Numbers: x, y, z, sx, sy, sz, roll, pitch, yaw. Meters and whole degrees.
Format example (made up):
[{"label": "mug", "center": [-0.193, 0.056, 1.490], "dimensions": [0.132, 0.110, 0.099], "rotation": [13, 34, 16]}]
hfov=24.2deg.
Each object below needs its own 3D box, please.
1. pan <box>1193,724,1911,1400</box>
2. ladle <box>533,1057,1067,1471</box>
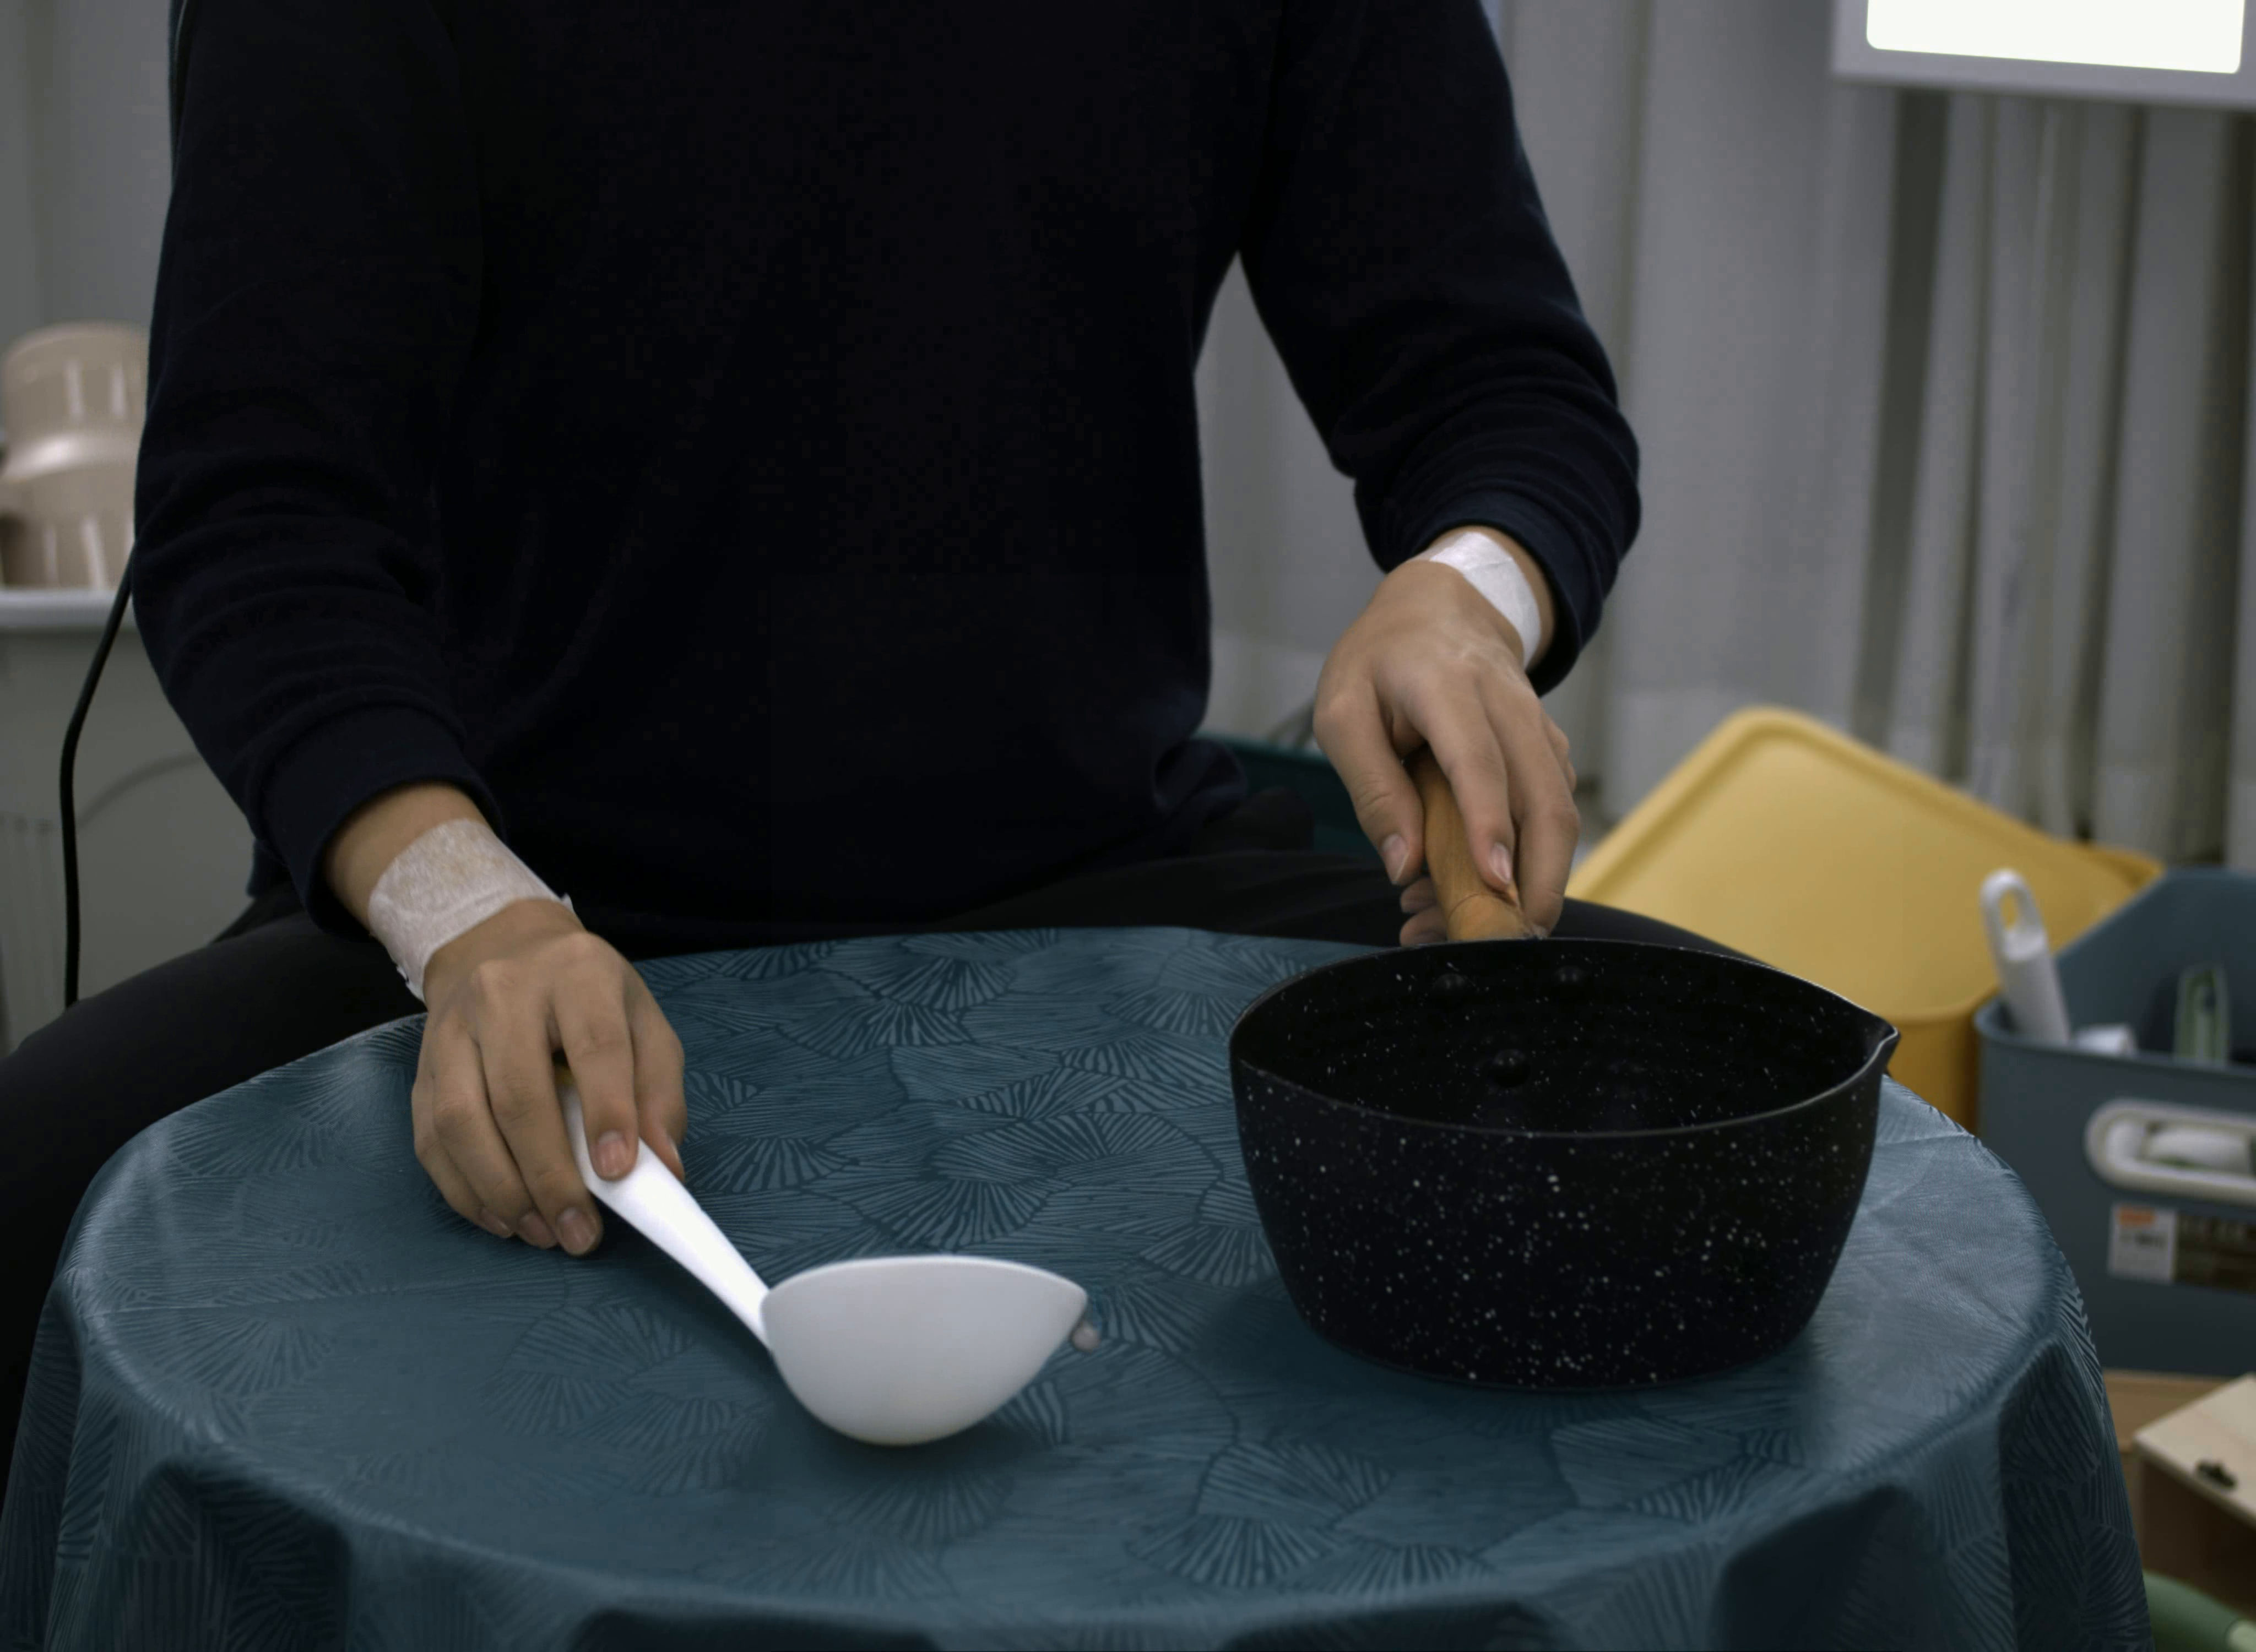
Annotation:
[{"label": "pan", "center": [0.115, 0.066, 1.592], "dimensions": [0.207, 0.109, 0.340], "rotation": [-2, 17, -6]}, {"label": "ladle", "center": [-0.108, 0.110, 1.503], "dimensions": [0.090, 0.070, 0.289], "rotation": [4, 15, -26]}]
